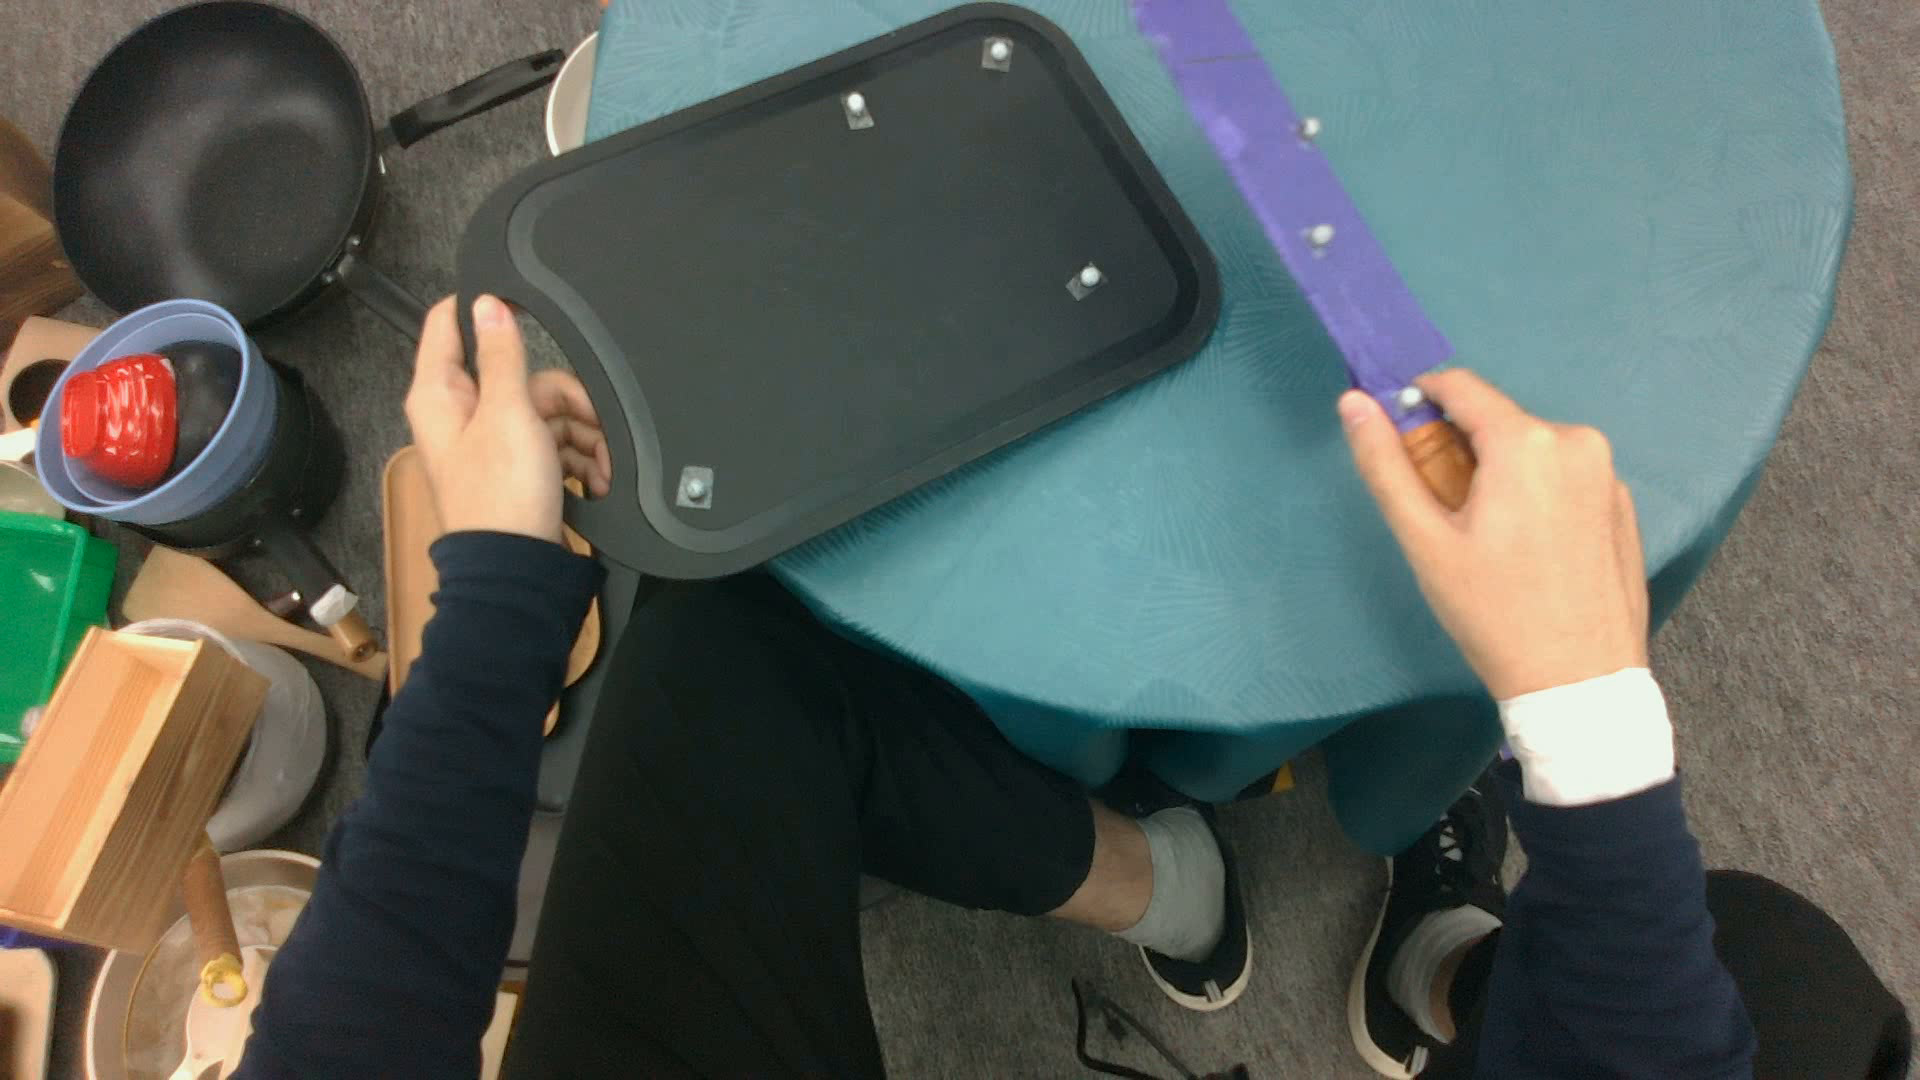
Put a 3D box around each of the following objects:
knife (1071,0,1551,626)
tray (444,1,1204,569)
[{"bbox_3d":[0.149,-0.115,0.562,0.104,0.032,0.315,-28,84,-48],"label":"knife"},{"bbox_3d":[-0.060,-0.123,0.615,0.326,0.010,0.211,-26,78,-15],"label":"tray"}]
